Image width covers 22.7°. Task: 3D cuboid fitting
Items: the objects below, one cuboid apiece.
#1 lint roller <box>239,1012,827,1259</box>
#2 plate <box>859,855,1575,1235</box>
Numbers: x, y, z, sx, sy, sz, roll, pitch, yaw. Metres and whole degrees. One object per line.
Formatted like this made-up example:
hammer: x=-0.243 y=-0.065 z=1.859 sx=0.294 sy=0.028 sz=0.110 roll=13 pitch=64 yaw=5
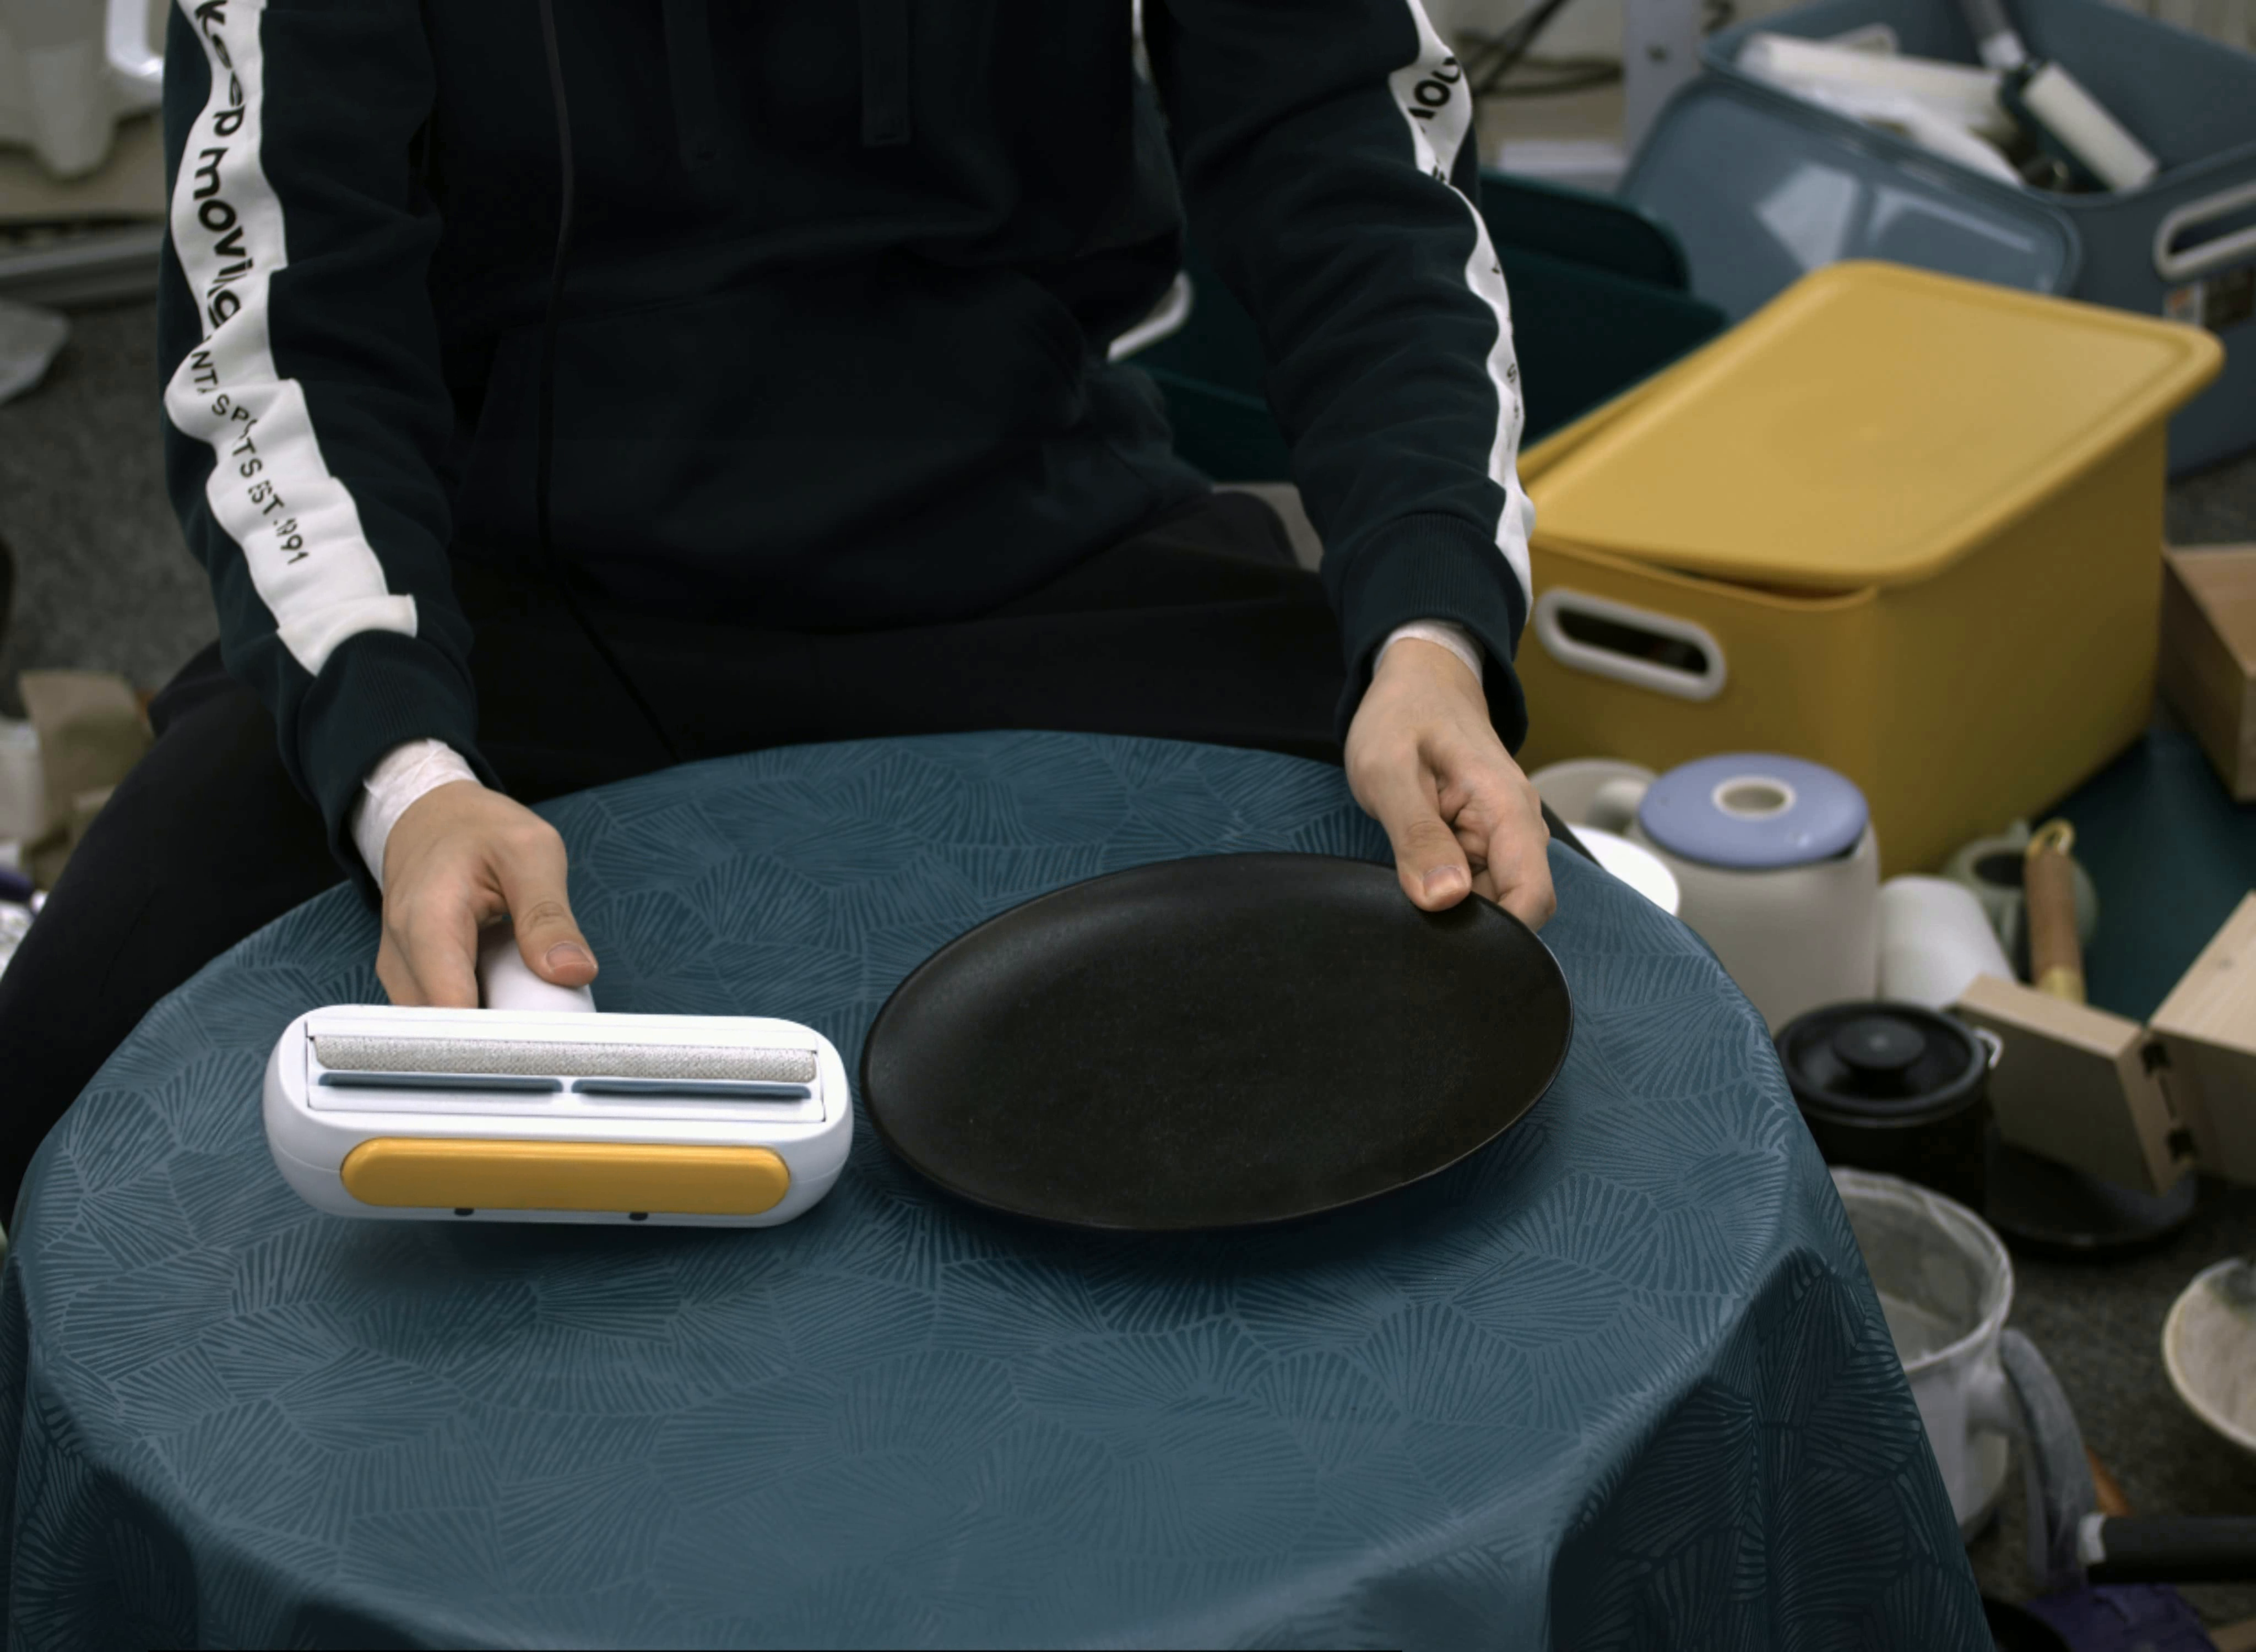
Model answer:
lint roller: x=-0.199 y=0.089 z=1.898 sx=0.192 sy=0.073 sz=0.194 roll=3 pitch=18 yaw=-6
plate: x=0.030 y=0.078 z=1.903 sx=0.243 sy=0.023 sz=0.248 roll=-5 pitch=28 yaw=3
